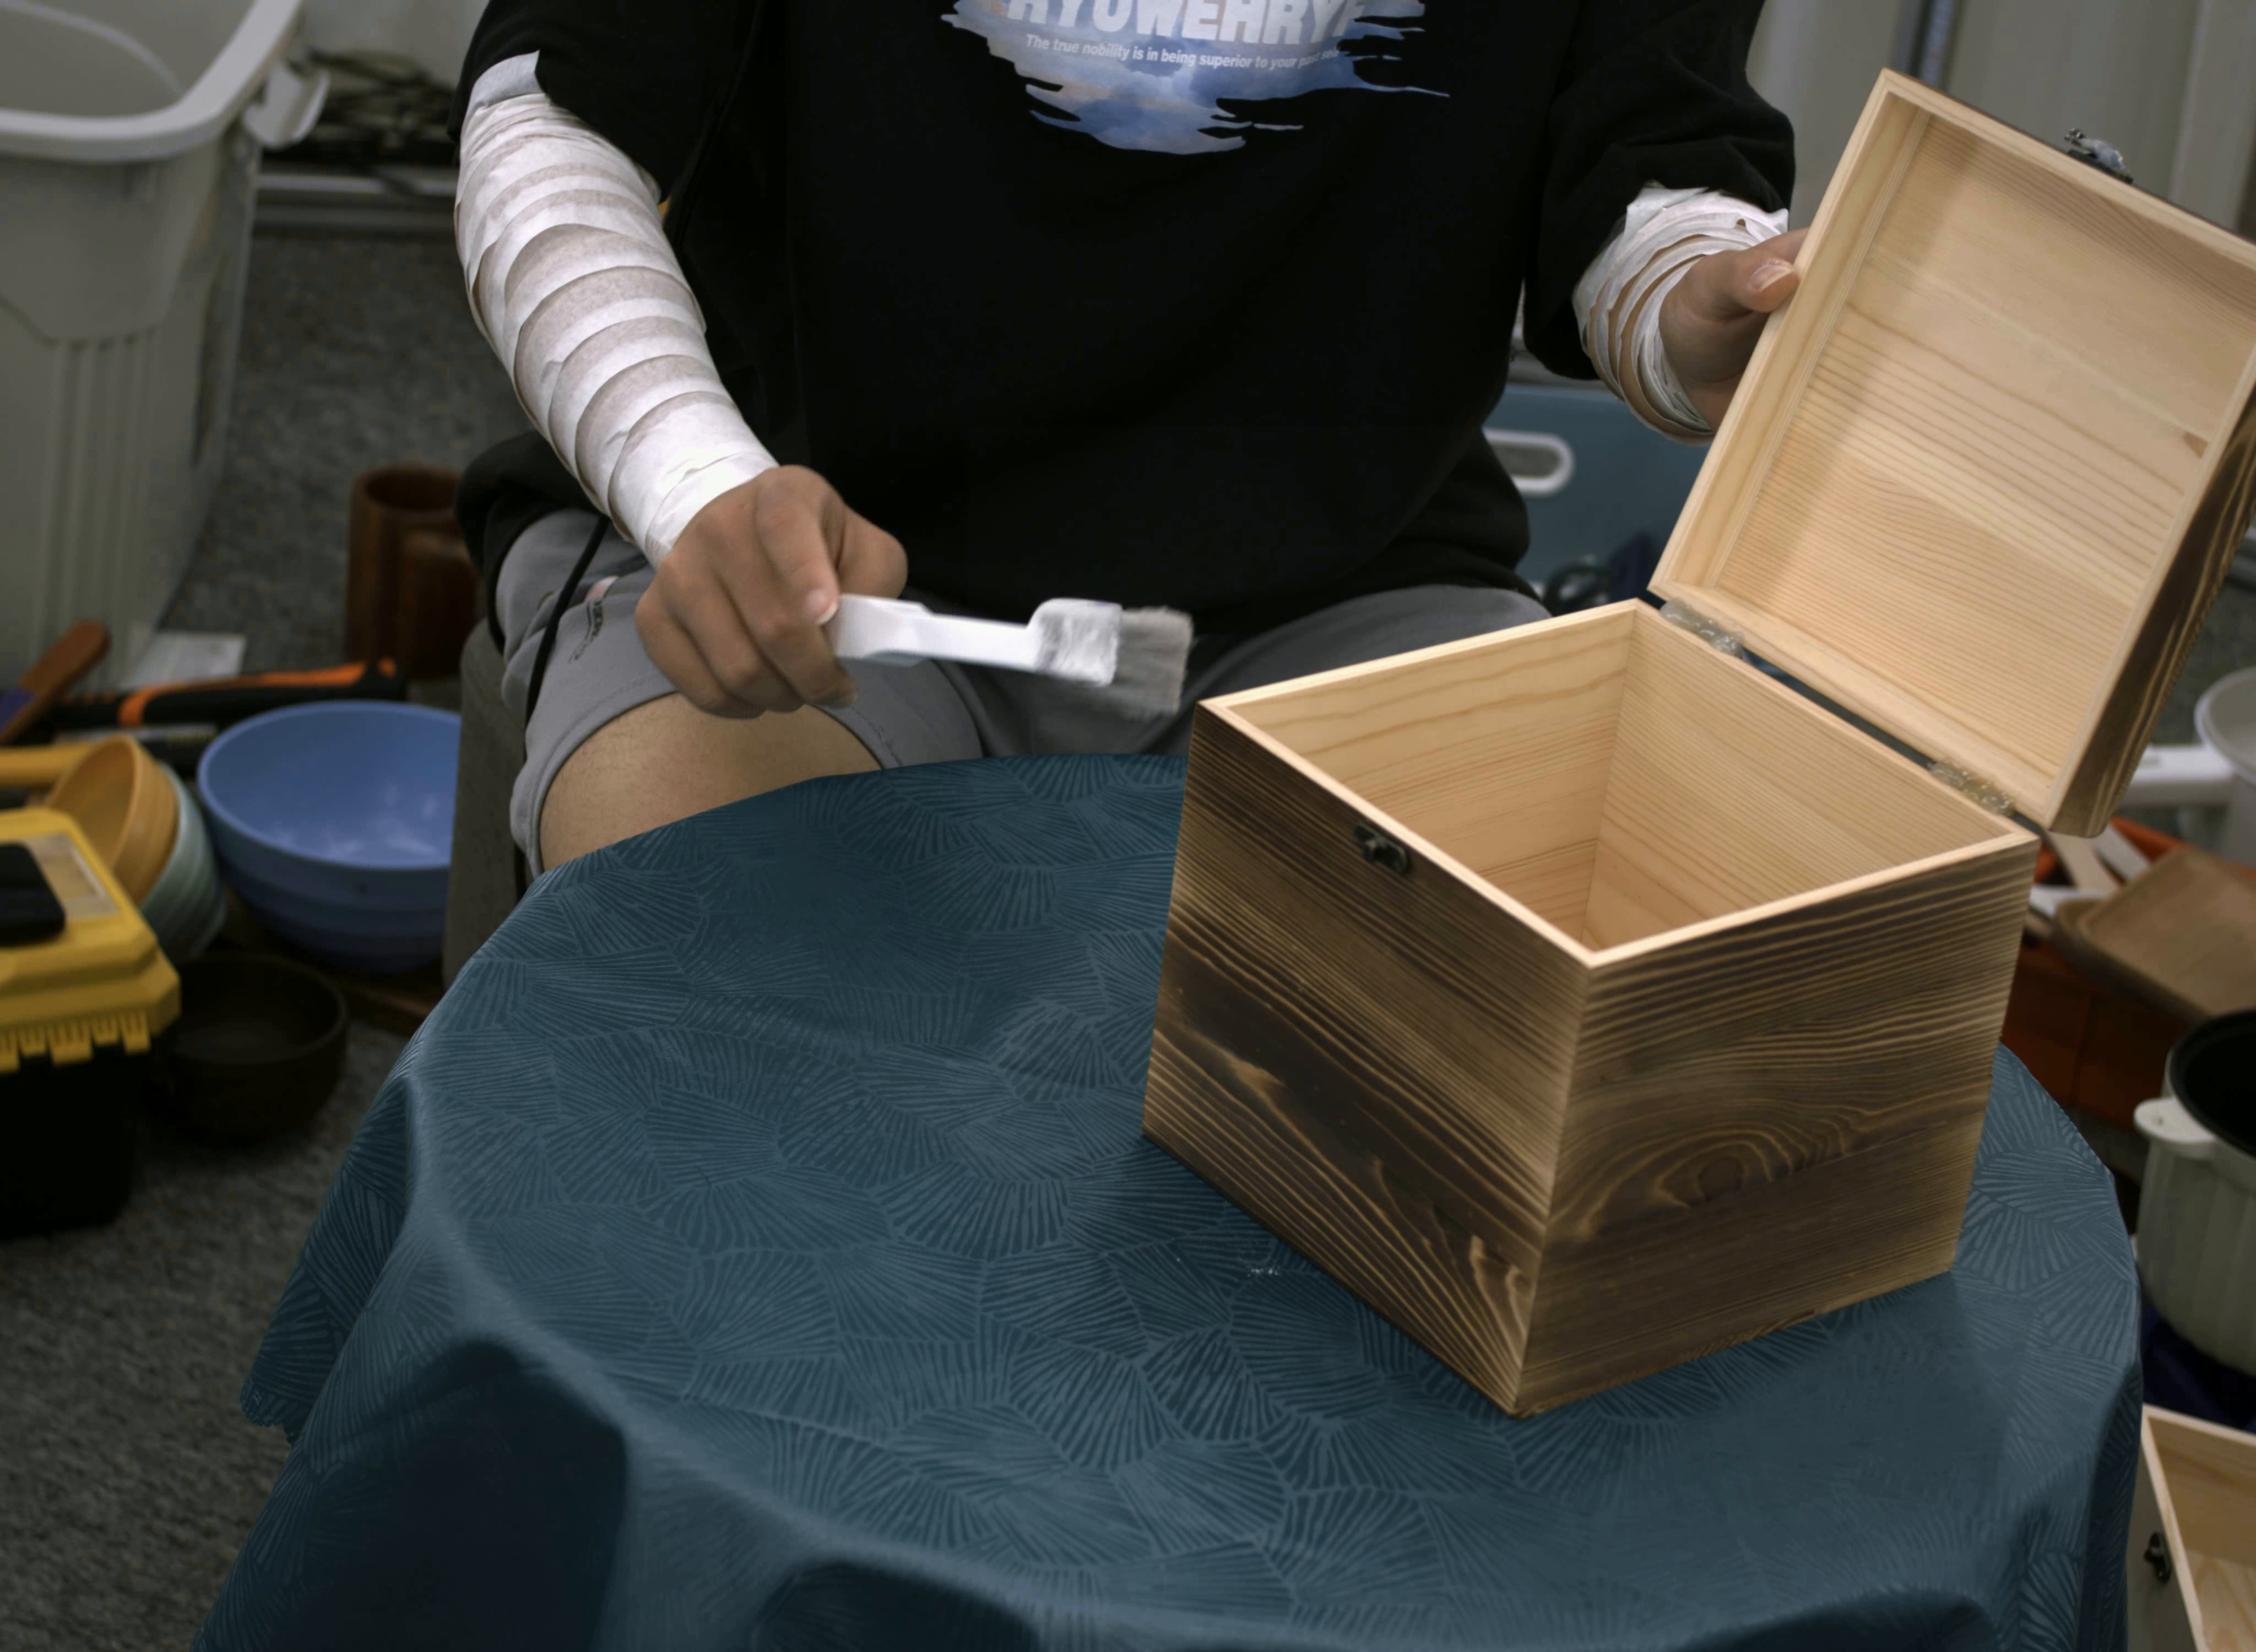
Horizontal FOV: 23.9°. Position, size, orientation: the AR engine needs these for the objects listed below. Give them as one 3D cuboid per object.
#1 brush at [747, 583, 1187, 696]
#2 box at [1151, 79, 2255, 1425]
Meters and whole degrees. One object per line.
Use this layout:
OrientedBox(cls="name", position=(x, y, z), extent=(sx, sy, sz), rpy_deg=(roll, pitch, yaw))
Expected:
OrientedBox(cls="brush", position=(-0.054, -0.063, 1.814), extent=(0.050, 0.034, 0.245), rpy_deg=(7, -2, -32))
OrientedBox(cls="box", position=(0.202, -0.038, 1.780), extent=(0.320, 0.374, 0.210), rpy_deg=(-11, 30, -36))
